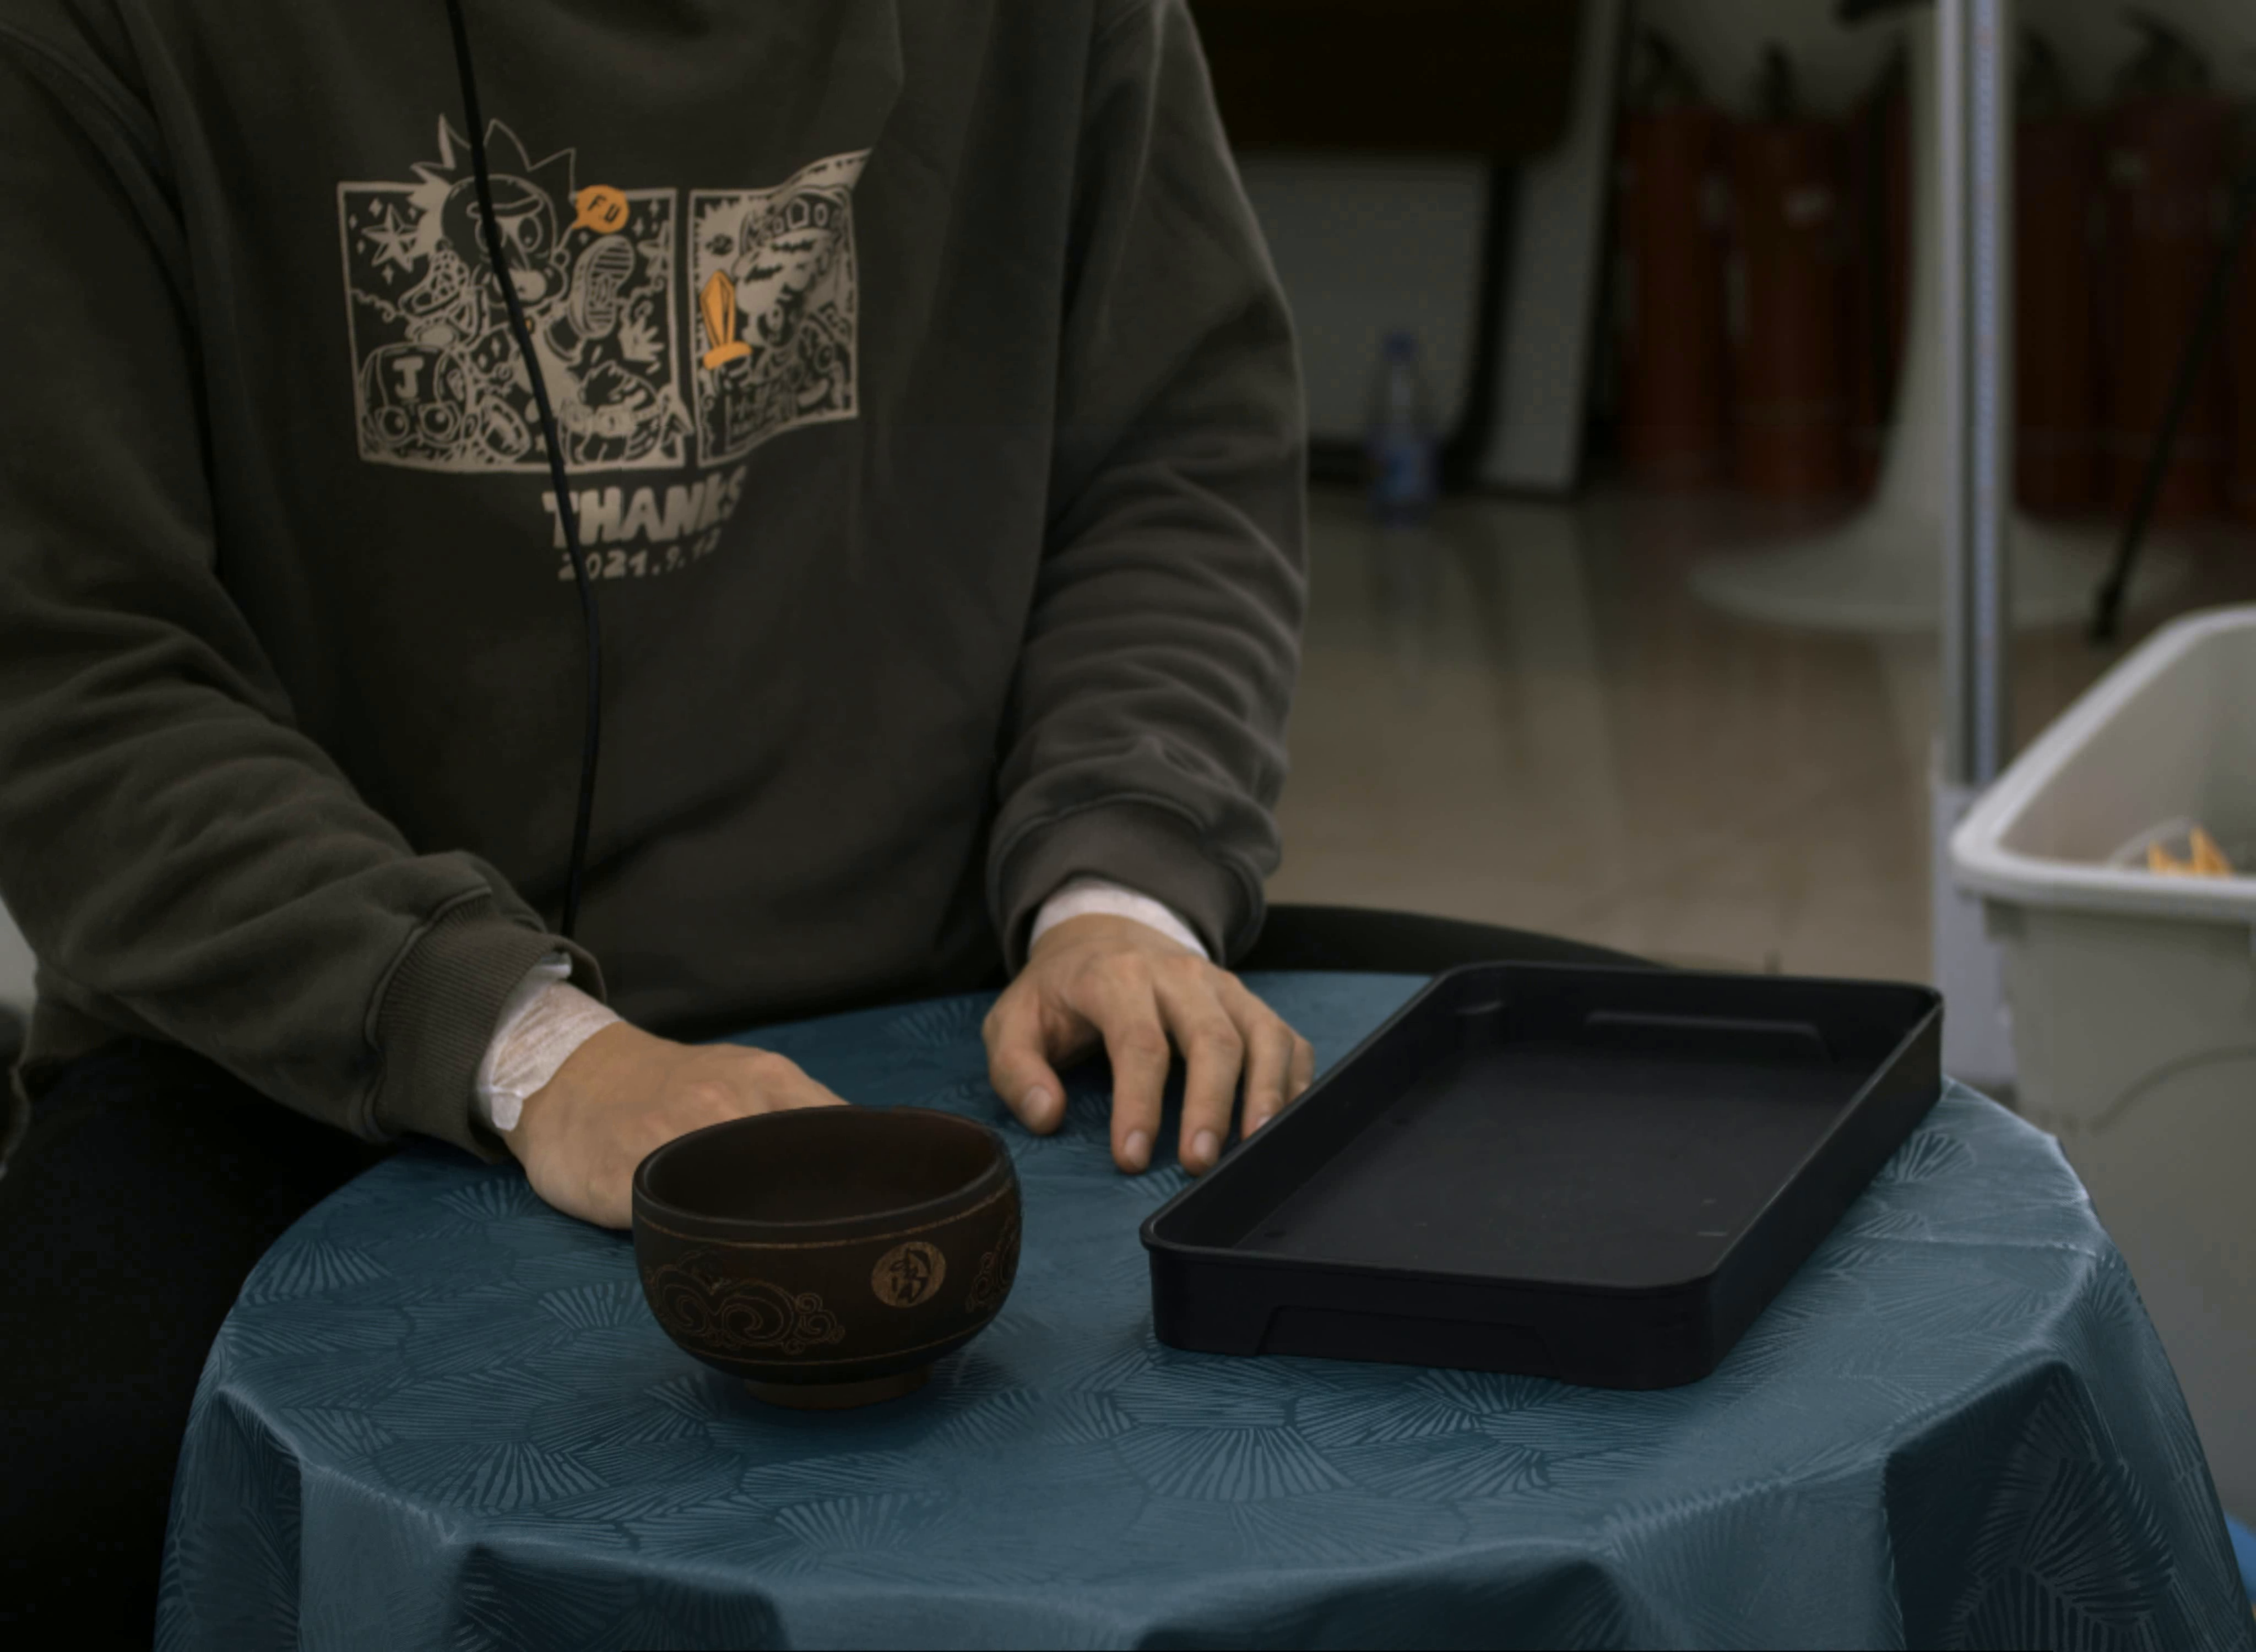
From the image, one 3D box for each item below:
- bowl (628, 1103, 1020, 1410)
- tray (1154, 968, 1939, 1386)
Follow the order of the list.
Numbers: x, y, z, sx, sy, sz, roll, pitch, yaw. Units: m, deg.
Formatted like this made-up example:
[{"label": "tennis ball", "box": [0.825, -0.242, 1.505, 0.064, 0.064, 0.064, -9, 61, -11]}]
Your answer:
[{"label": "bowl", "box": [-0.089, 0.132, 1.607, 0.116, 0.070, 0.118, -5, 12, 0]}, {"label": "tray", "box": [0.142, 0.106, 1.723, 0.184, 0.037, 0.314, 1, 15, 22]}]
